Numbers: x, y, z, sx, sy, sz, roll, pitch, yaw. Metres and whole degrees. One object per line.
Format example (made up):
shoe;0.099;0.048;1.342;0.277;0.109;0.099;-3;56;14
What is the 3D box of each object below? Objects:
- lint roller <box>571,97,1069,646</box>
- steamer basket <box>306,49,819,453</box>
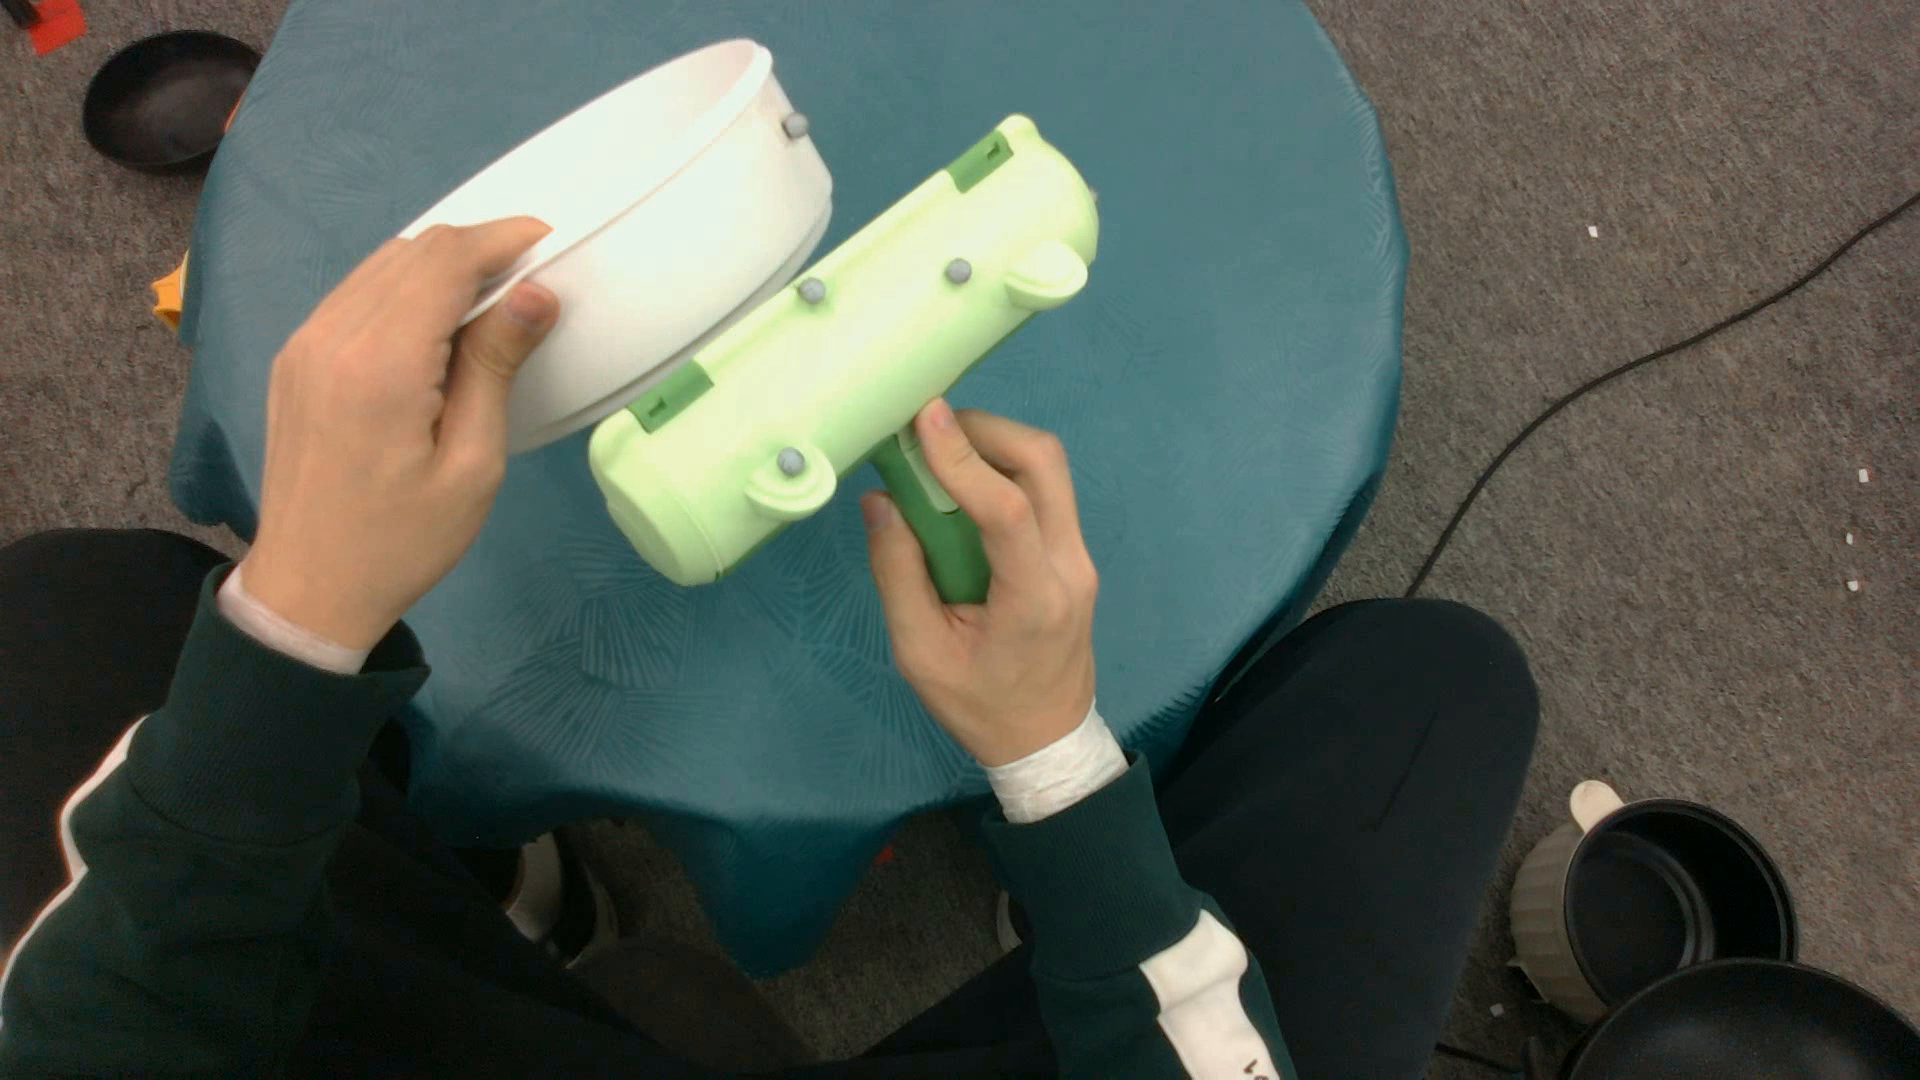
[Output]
lint roller;-0.010;-0.027;0.483;0.199;0.082;0.183;-44;118;-23
steamer basket;-0.154;-0.114;0.550;0.201;0.069;0.231;-20;29;21
